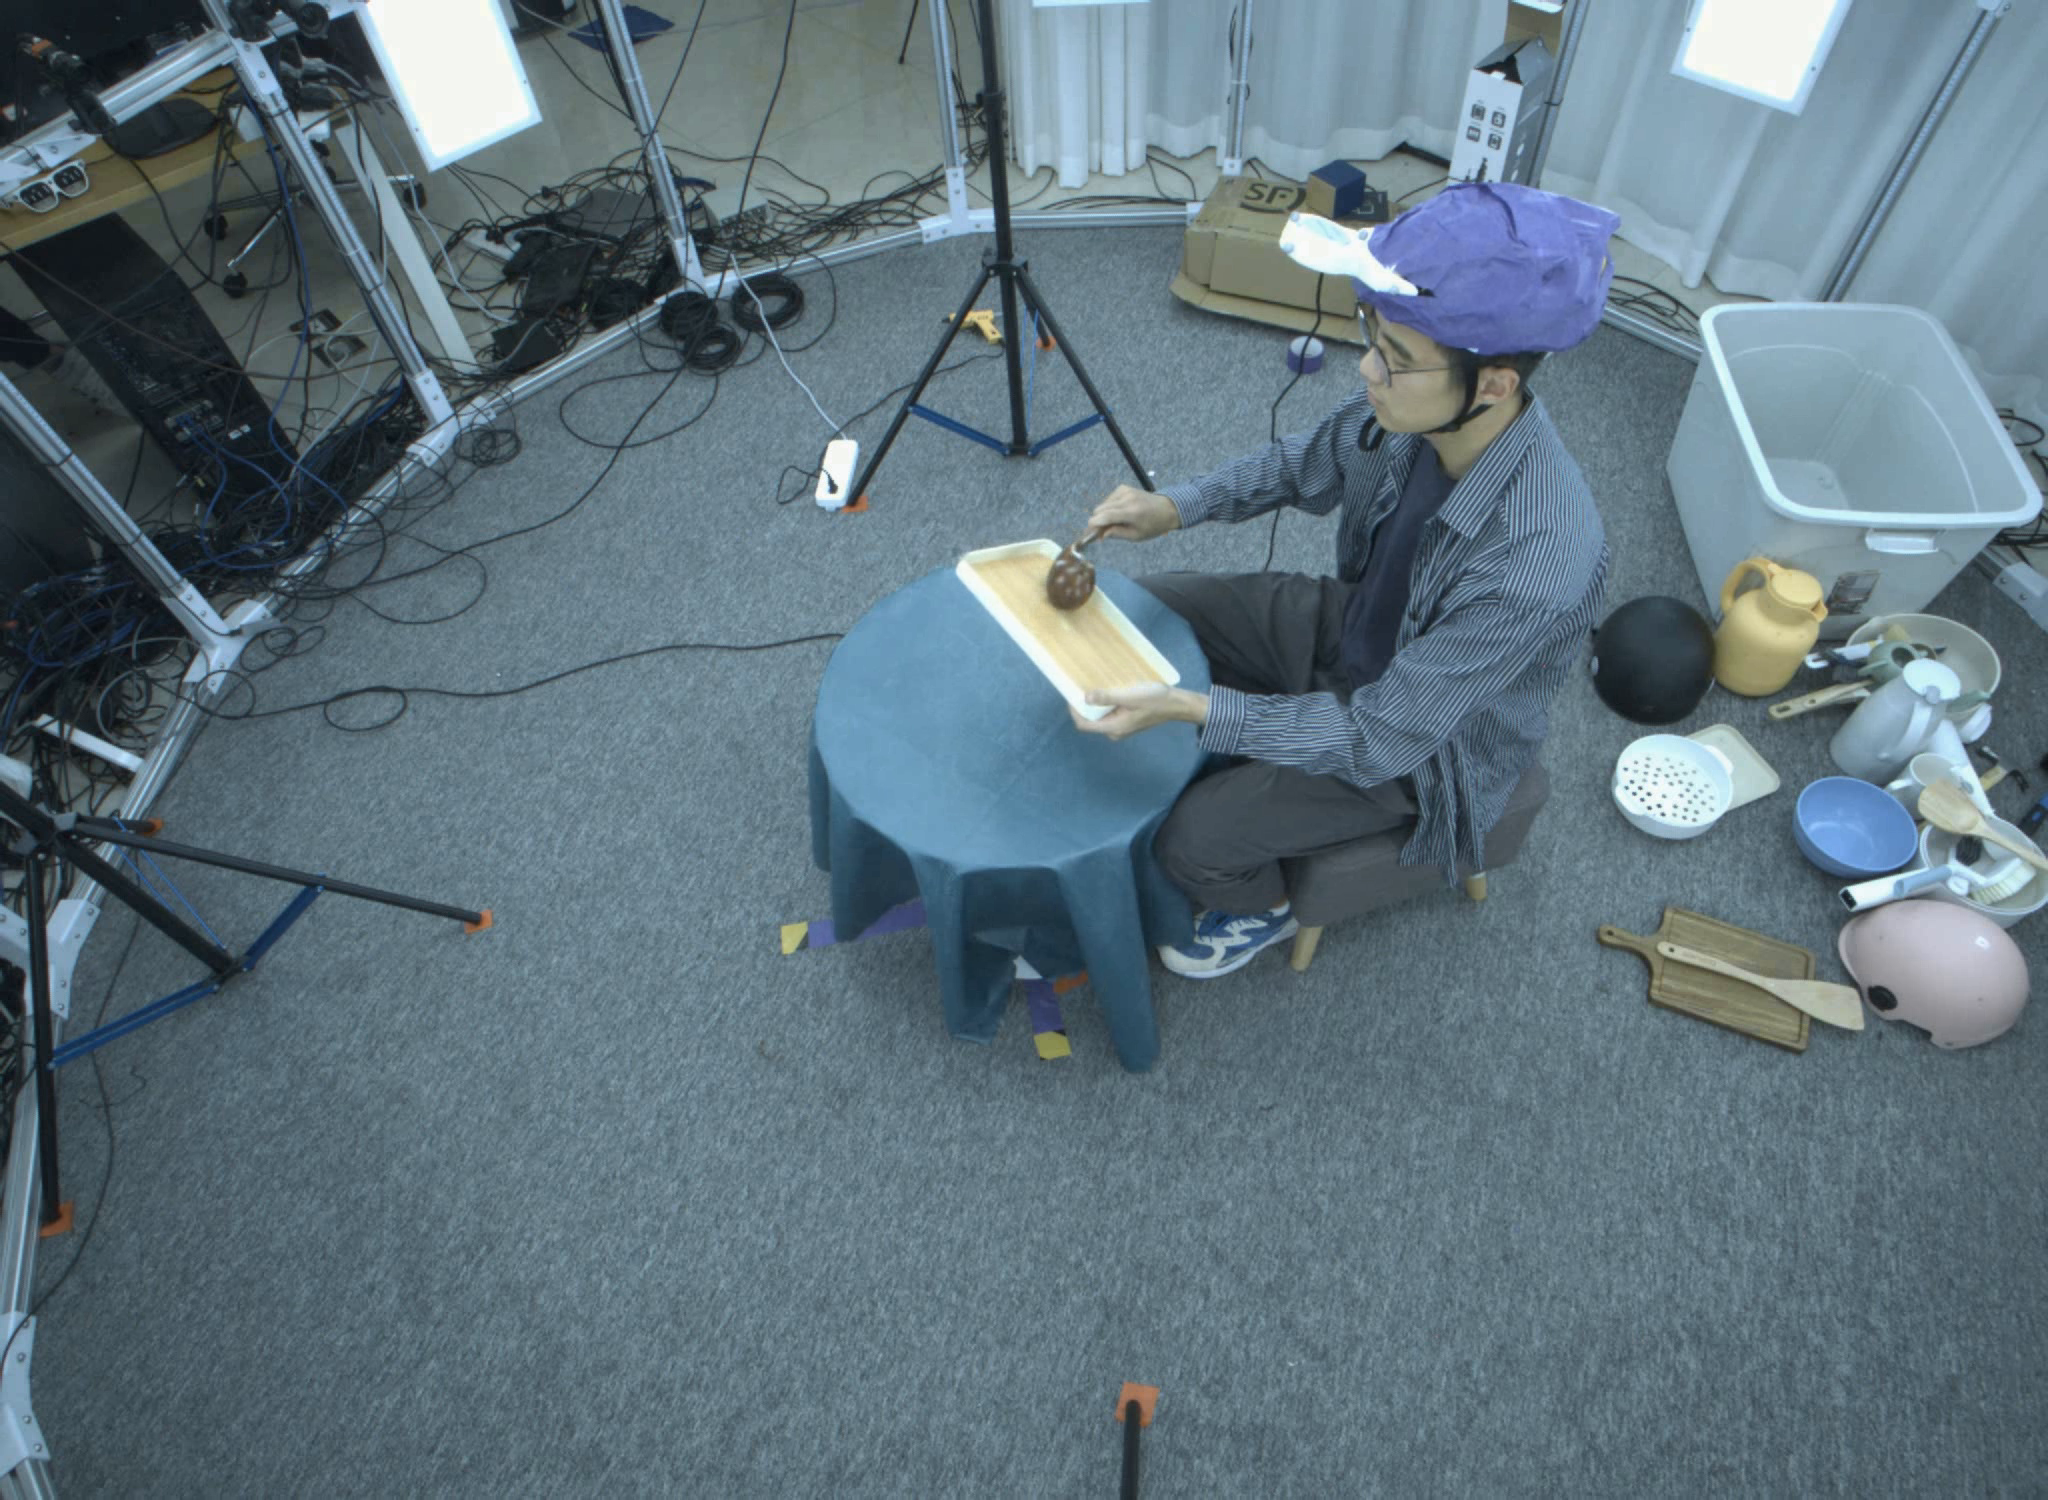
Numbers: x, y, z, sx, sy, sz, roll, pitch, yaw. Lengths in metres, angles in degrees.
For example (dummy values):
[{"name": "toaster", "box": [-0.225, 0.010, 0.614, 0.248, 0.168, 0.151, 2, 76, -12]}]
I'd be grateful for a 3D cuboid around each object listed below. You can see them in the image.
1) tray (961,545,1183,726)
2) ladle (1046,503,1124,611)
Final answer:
[{"name": "tray", "box": [0.065, -0.162, 1.668, 0.195, 0.027, 0.296, -20, 63, -45]}, {"name": "ladle", "box": [0.106, -0.281, 1.764, 0.080, 0.077, 0.275, -18, 18, 33]}]
